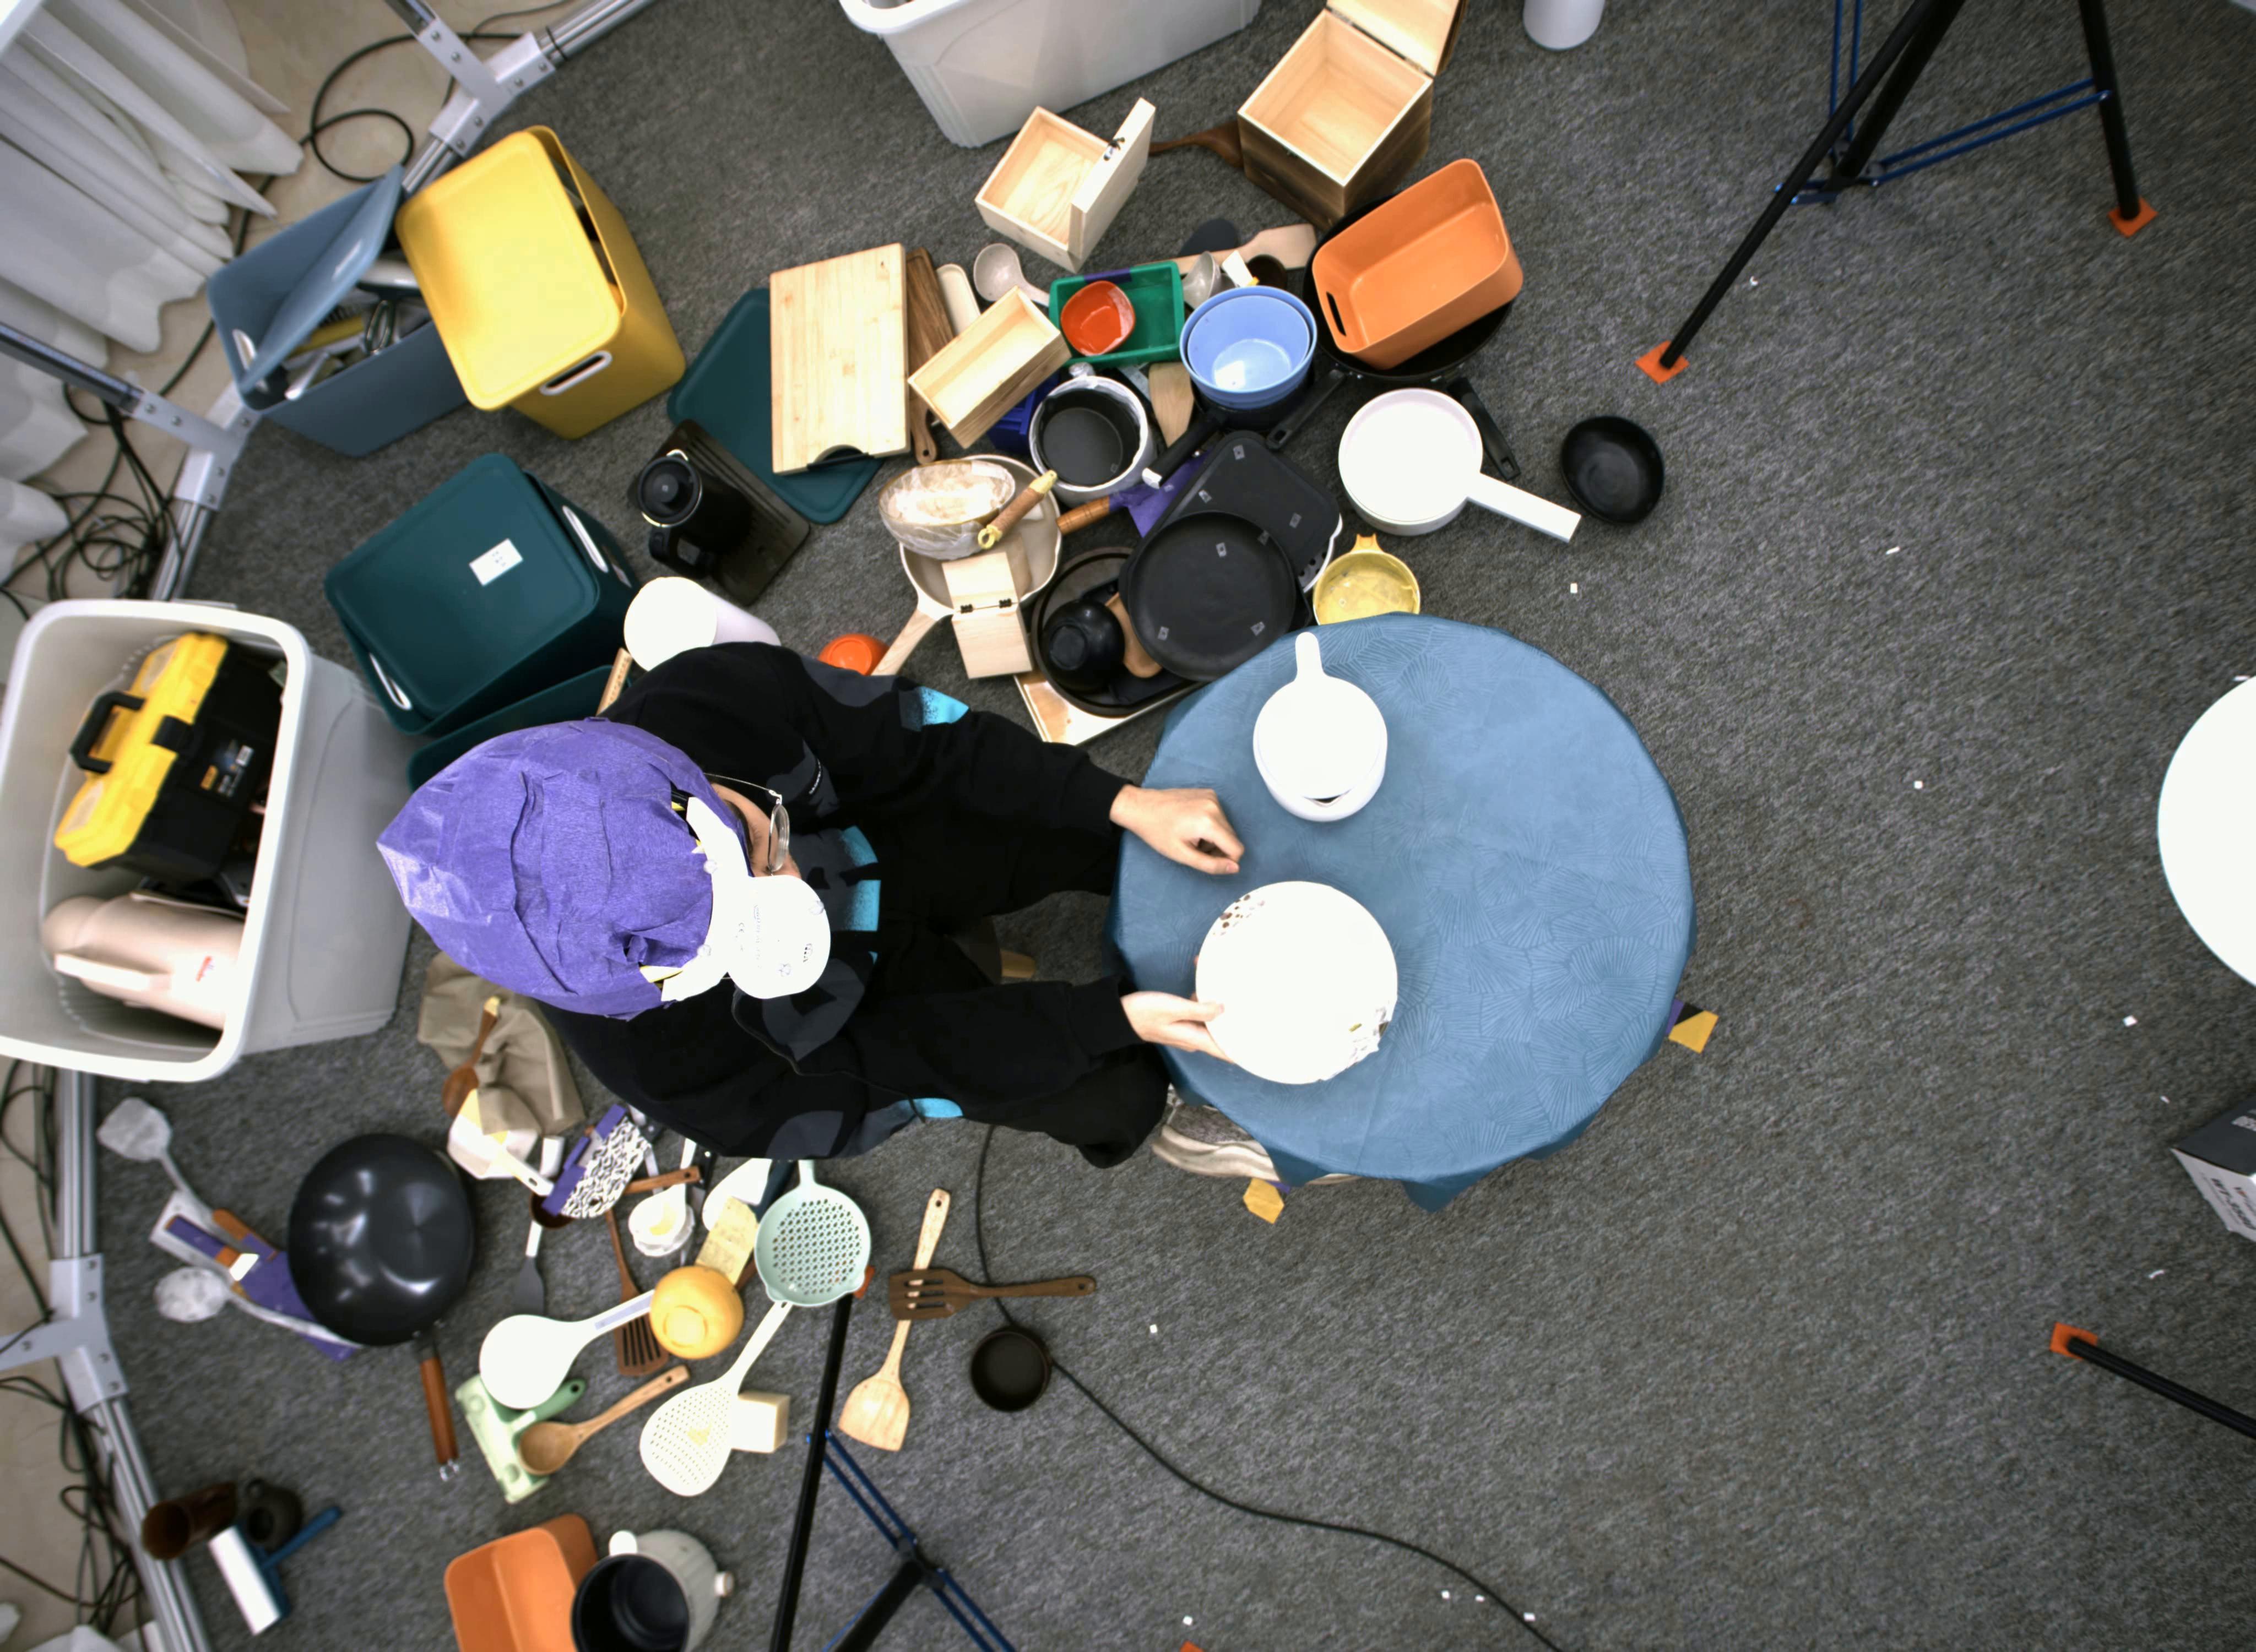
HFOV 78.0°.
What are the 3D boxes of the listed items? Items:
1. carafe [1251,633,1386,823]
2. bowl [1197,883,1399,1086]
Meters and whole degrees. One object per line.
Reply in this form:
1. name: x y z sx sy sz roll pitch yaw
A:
1. carafe: 0.189 -0.101 1.393 0.133 0.183 0.189 -10 82 8
2. bowl: 0.177 0.162 1.430 0.205 0.078 0.203 -1 85 12
